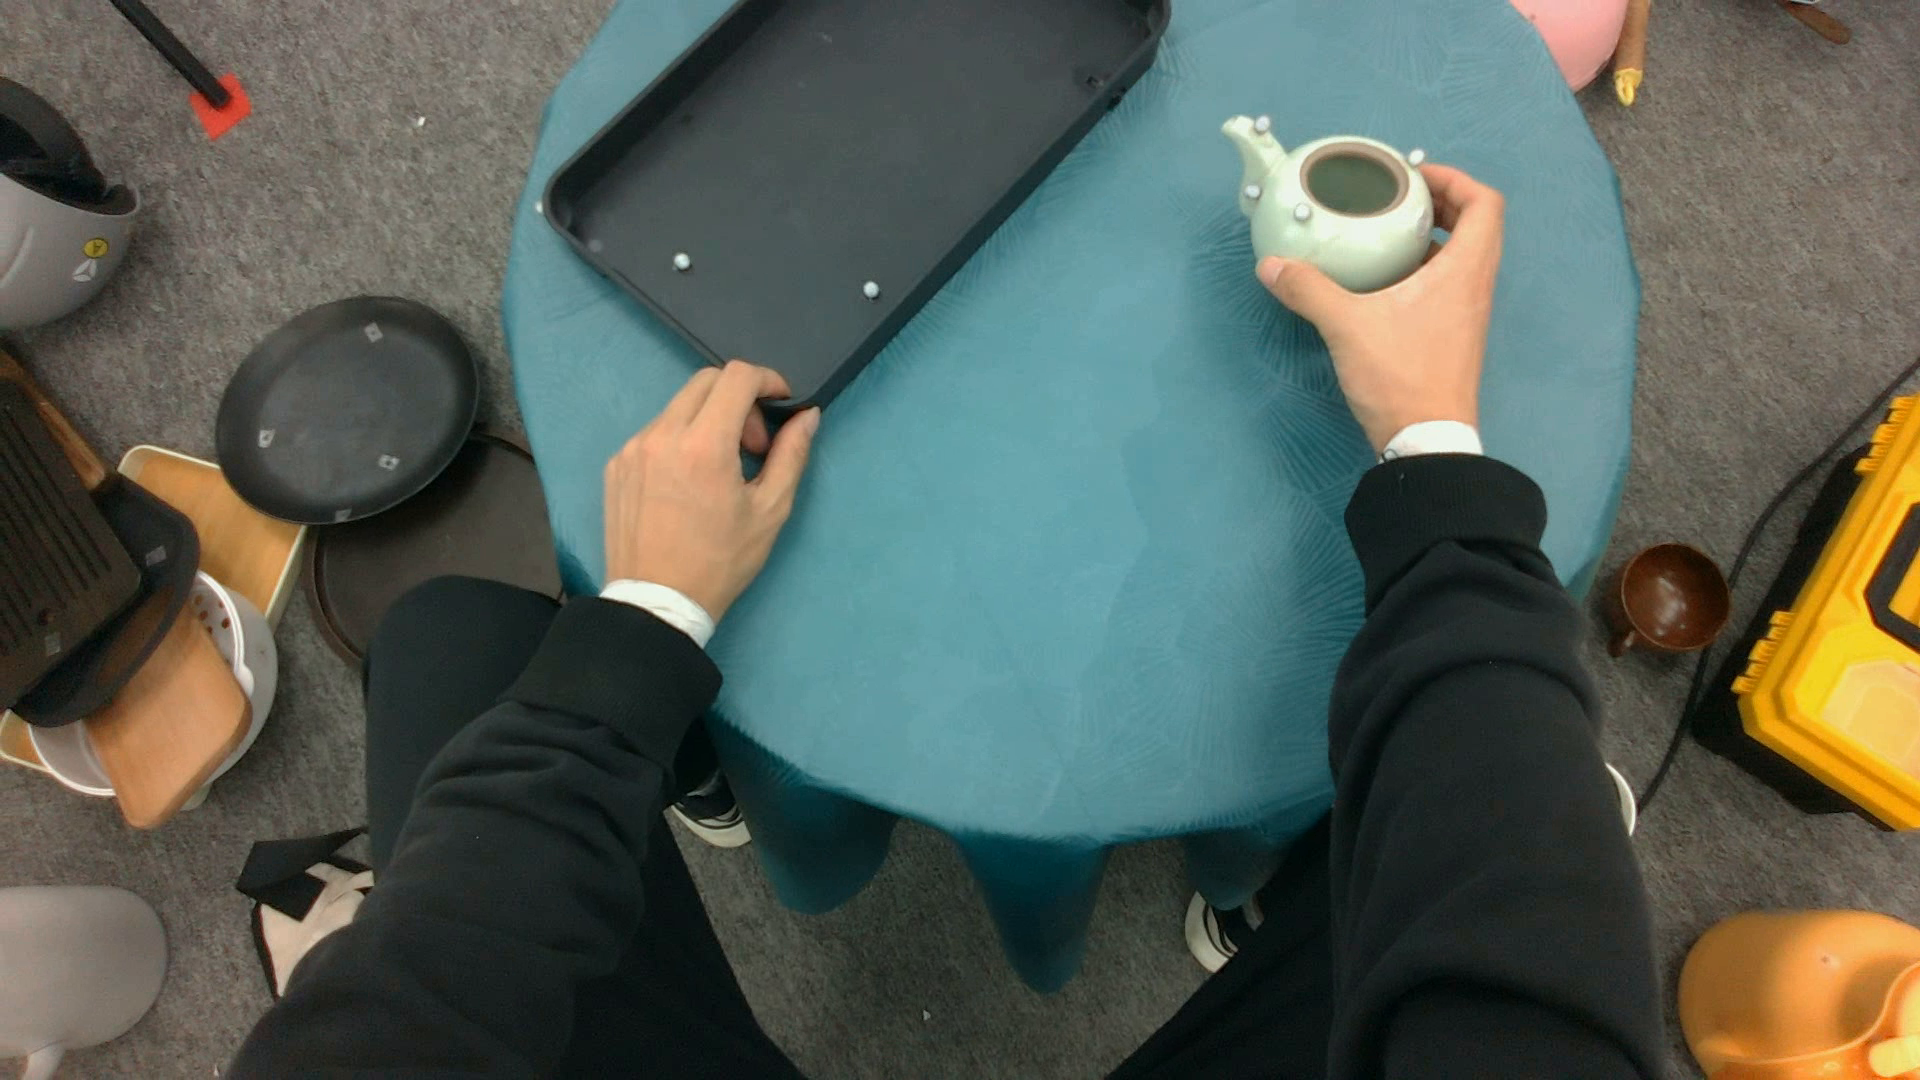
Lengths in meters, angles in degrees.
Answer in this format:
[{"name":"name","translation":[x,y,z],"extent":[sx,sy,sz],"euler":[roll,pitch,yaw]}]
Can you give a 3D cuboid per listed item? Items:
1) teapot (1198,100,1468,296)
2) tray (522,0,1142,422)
[{"name":"teapot","translation":[0.180,-0.167,0.693],"extent":[0.144,0.074,0.089],"euler":[31,63,18]},{"name":"tray","translation":[-0.063,-0.227,0.737],"extent":[0.184,0.037,0.318],"euler":[38,77,9]}]
